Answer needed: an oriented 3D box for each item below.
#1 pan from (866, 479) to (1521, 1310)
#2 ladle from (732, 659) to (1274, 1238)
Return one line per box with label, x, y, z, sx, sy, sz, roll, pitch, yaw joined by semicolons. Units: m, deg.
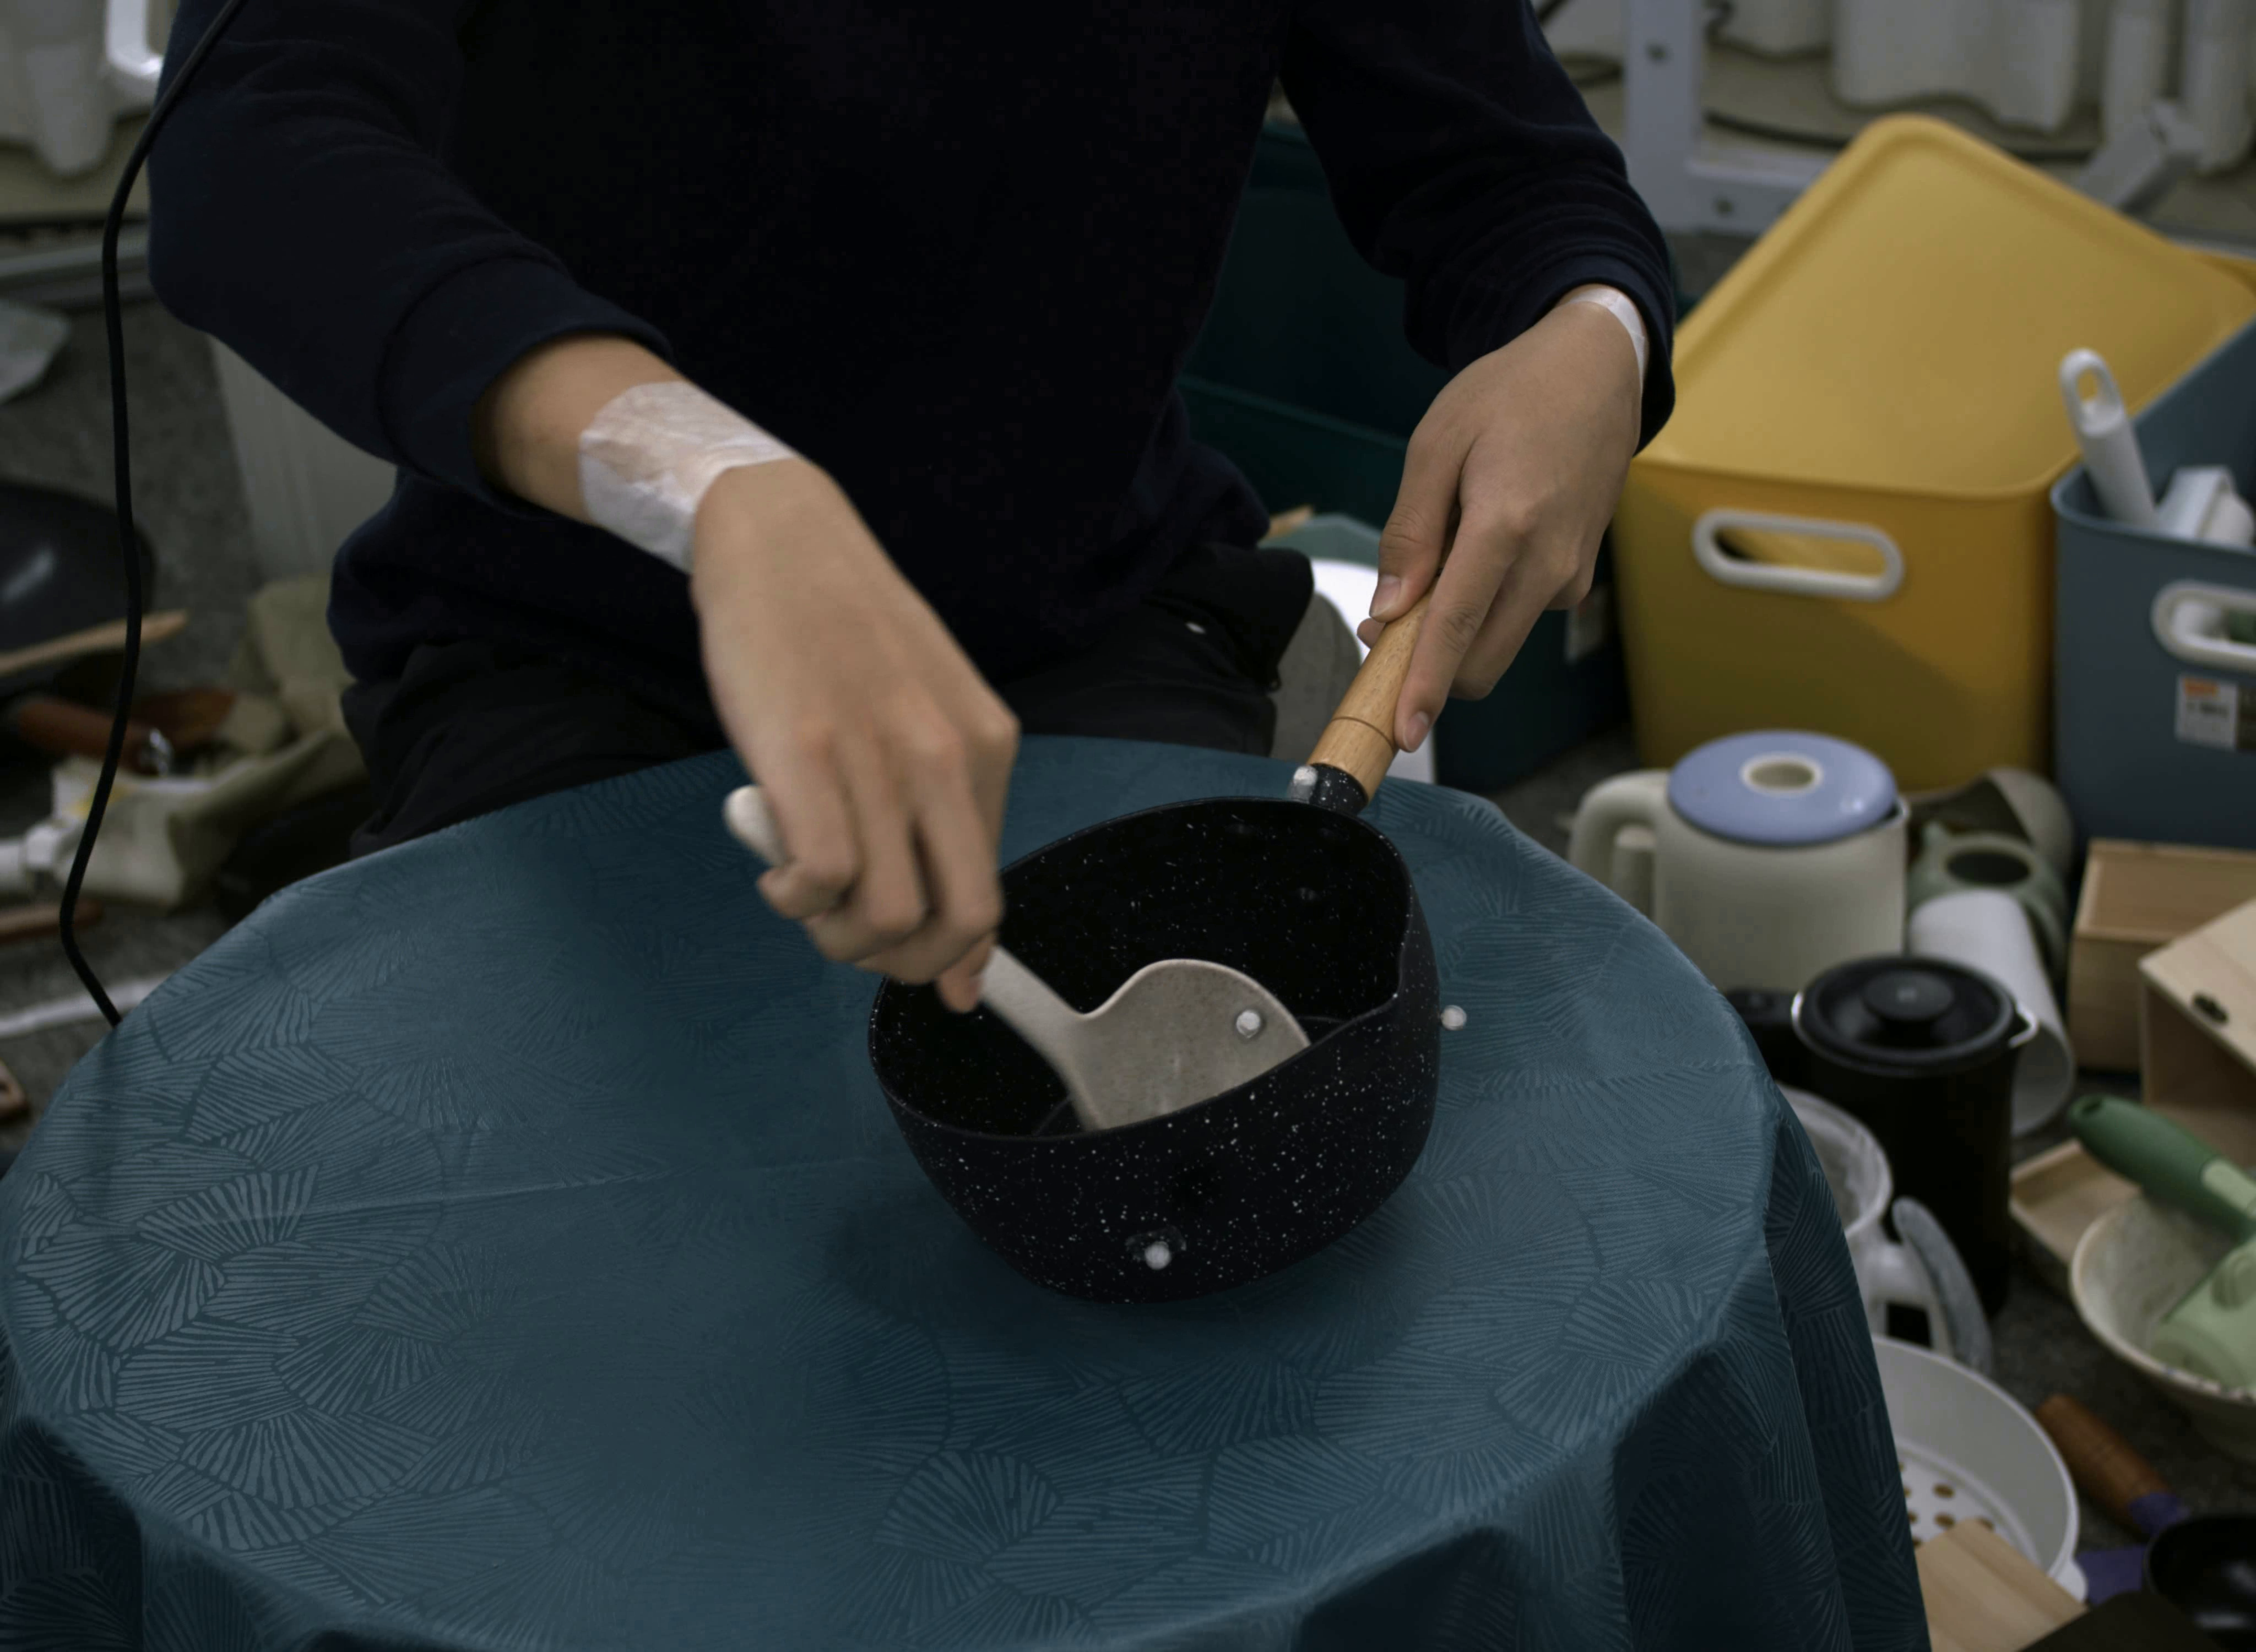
pan;0.052;0.021;1.871;0.205;0.107;0.349;3;38;36
ladle;-0.029;0.030;1.685;0.069;0.272;0.091;1;57;28
